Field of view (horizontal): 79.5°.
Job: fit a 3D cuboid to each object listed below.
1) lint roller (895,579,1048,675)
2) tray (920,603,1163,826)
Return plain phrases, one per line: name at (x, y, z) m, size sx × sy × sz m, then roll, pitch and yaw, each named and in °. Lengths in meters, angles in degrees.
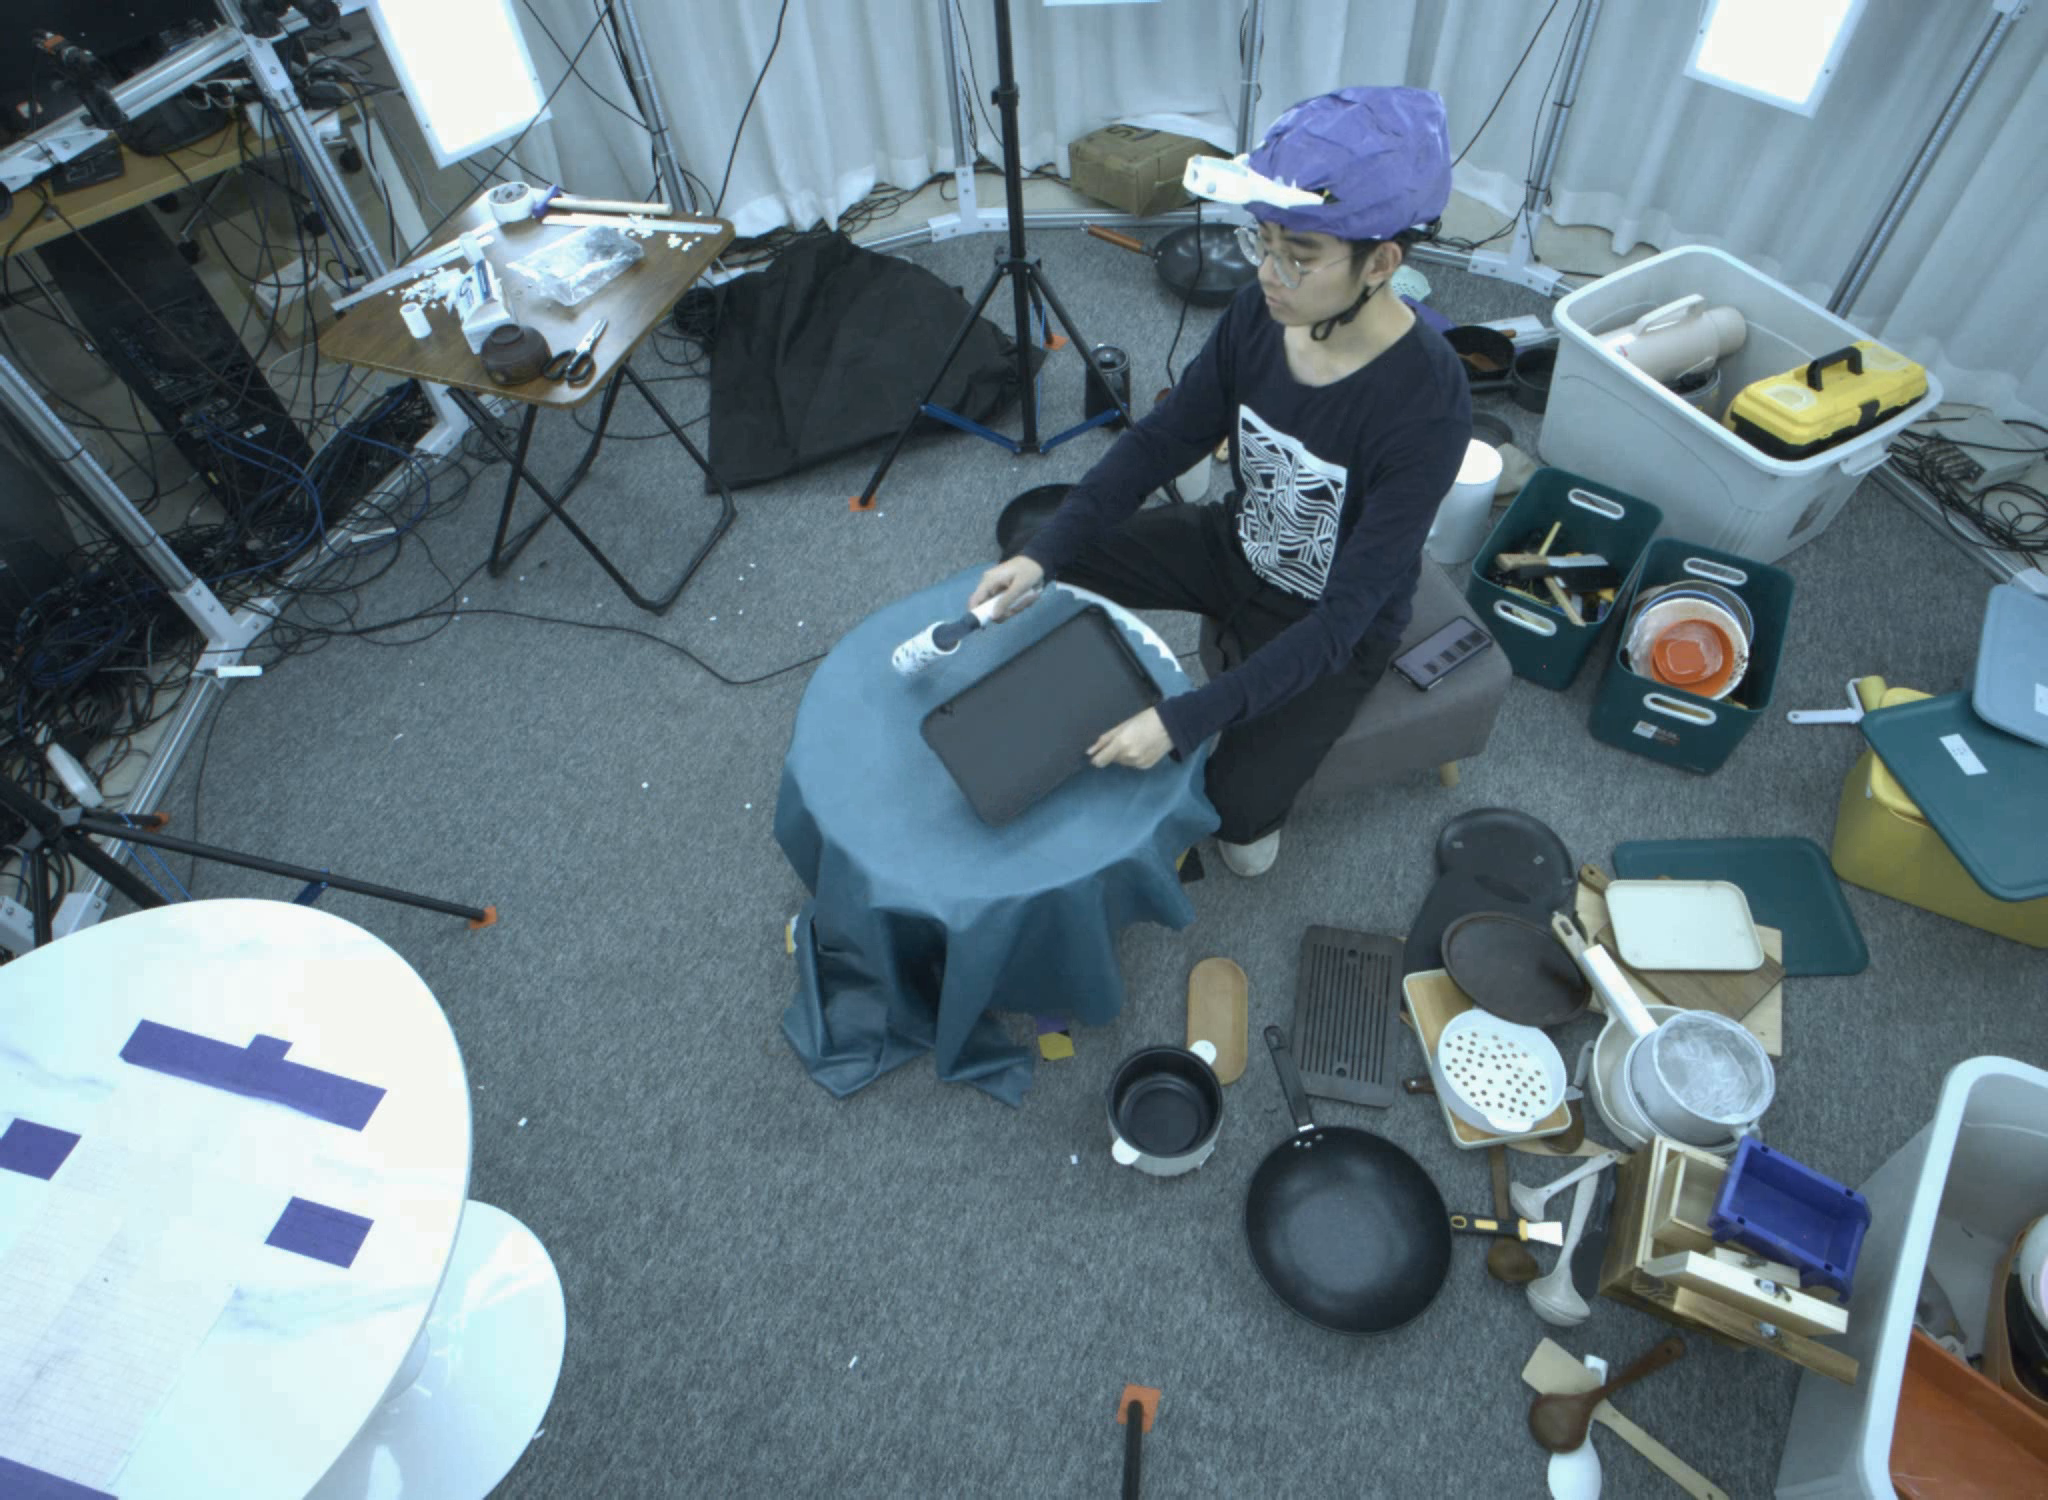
lint roller at (-0.068, -0.198, 1.820) m, size 0.249 × 0.174 × 0.050 m, roll -34°, pitch 96°, yaw -26°
tray at (0.026, -0.051, 1.713) m, size 0.320 × 0.036 × 0.185 m, roll -36°, pitch 95°, yaw -17°
